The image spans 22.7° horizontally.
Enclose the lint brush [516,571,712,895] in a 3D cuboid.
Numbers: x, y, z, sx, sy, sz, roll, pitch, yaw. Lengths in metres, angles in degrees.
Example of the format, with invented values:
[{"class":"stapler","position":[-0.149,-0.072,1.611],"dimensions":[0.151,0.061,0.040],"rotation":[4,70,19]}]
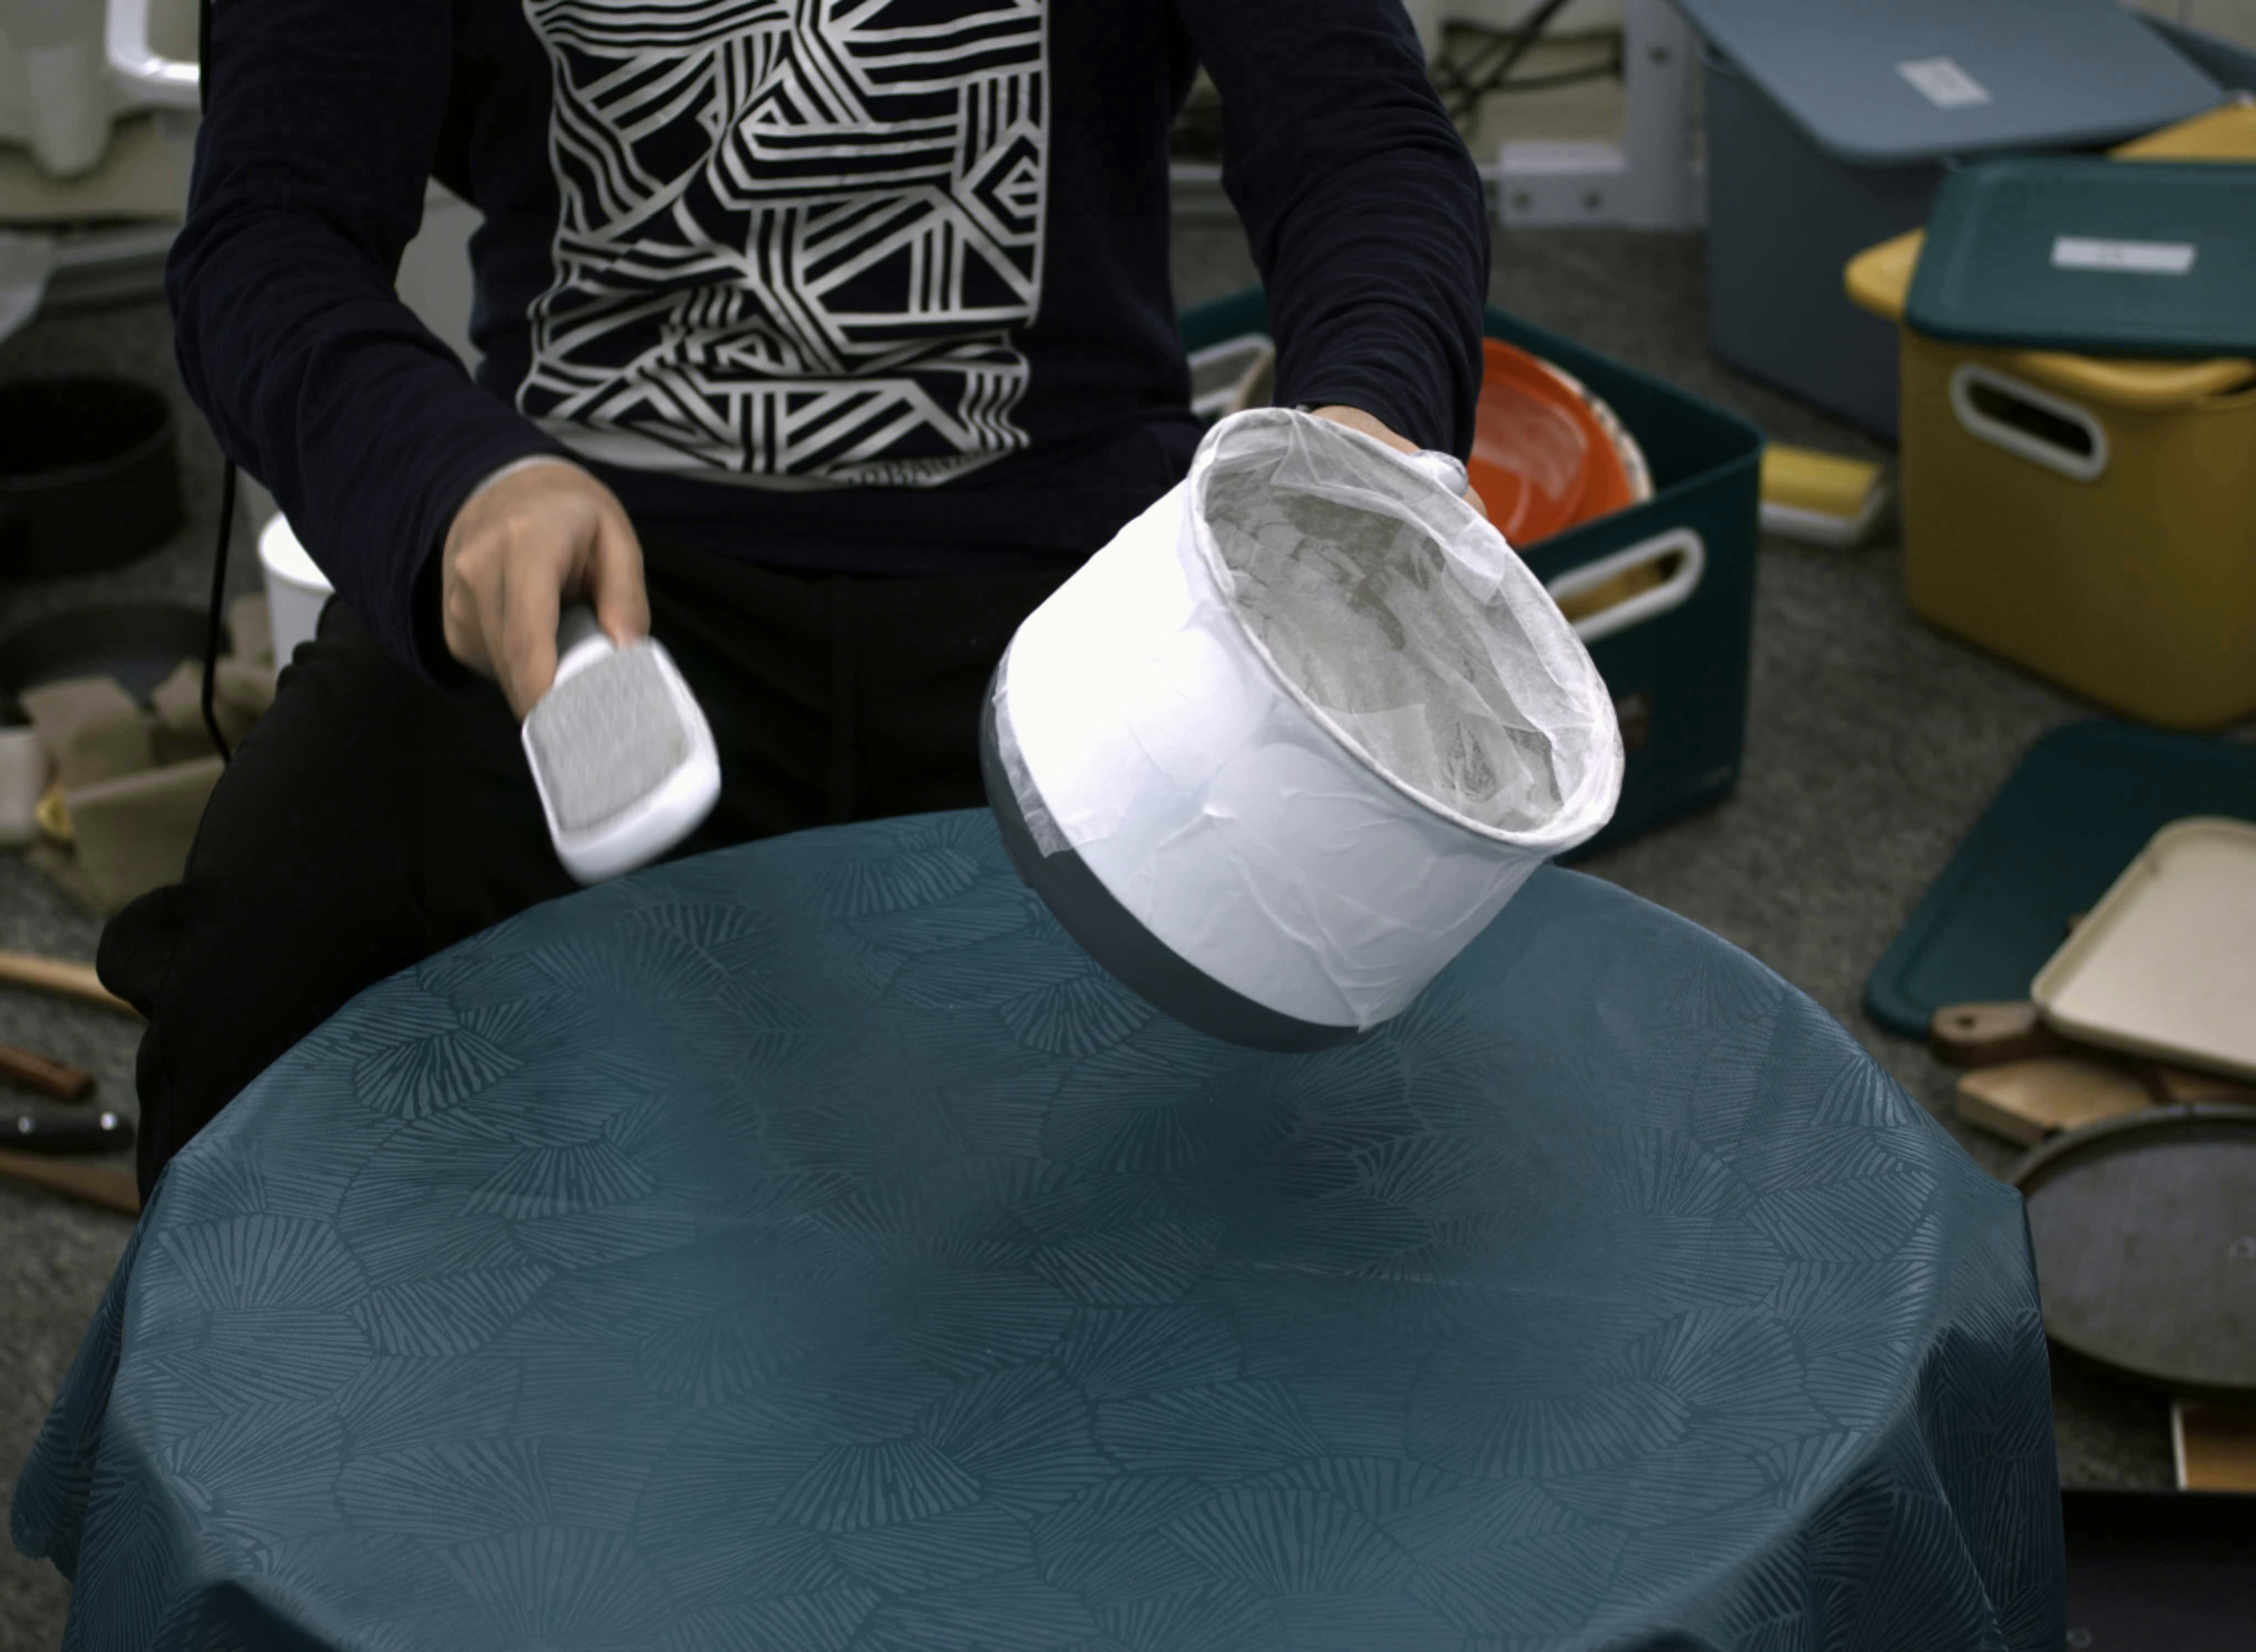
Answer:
[{"class":"lint brush","position":[-0.177,-0.038,1.878],"dimensions":[0.060,0.021,0.311],"rotation":[-37,20,2]}]

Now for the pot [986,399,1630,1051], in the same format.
[{"class":"pot","position":[0.057,-0.043,1.828],"dimensions":[0.178,0.134,0.238],"rotation":[40,31,-14]}]
